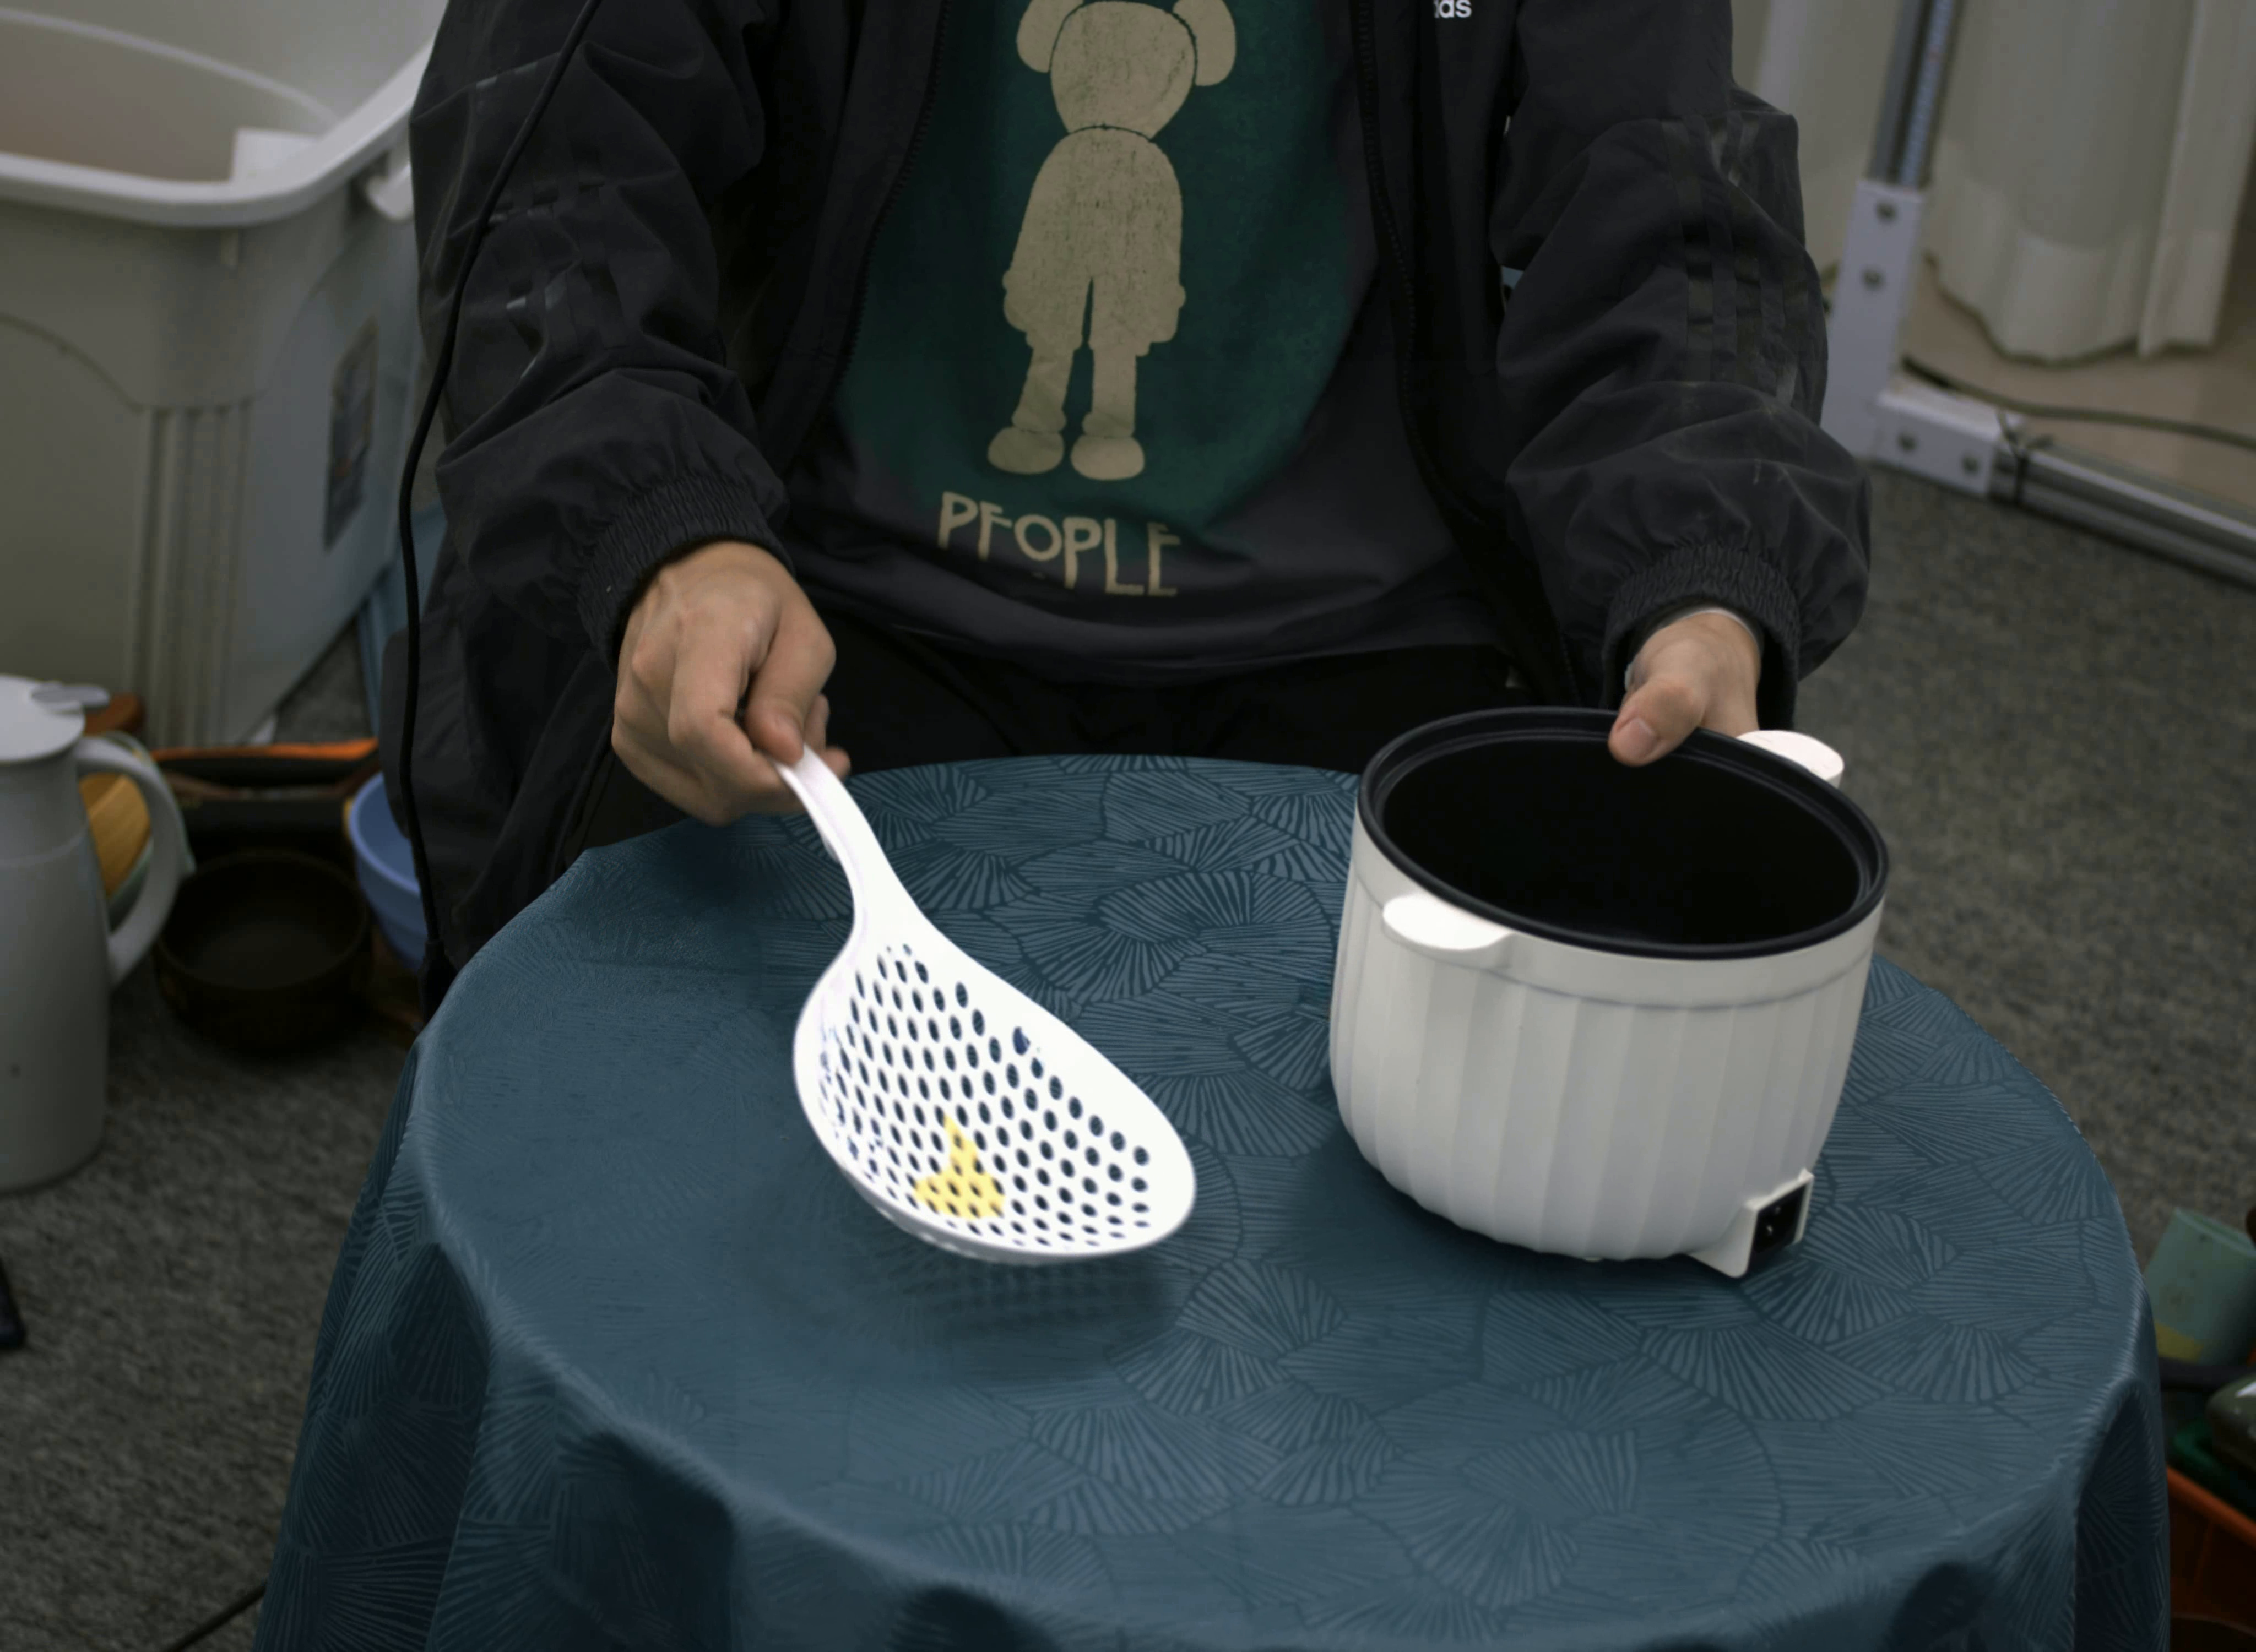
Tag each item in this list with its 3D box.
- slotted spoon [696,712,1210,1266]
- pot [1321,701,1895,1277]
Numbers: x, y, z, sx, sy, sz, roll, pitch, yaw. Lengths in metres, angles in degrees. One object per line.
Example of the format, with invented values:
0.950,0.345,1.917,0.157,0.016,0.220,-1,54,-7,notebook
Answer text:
-0.082,0.046,1.834,0.136,0.050,0.351,2,36,-26,slotted spoon
0.155,0.056,1.819,0.192,0.142,0.239,29,32,31,pot
